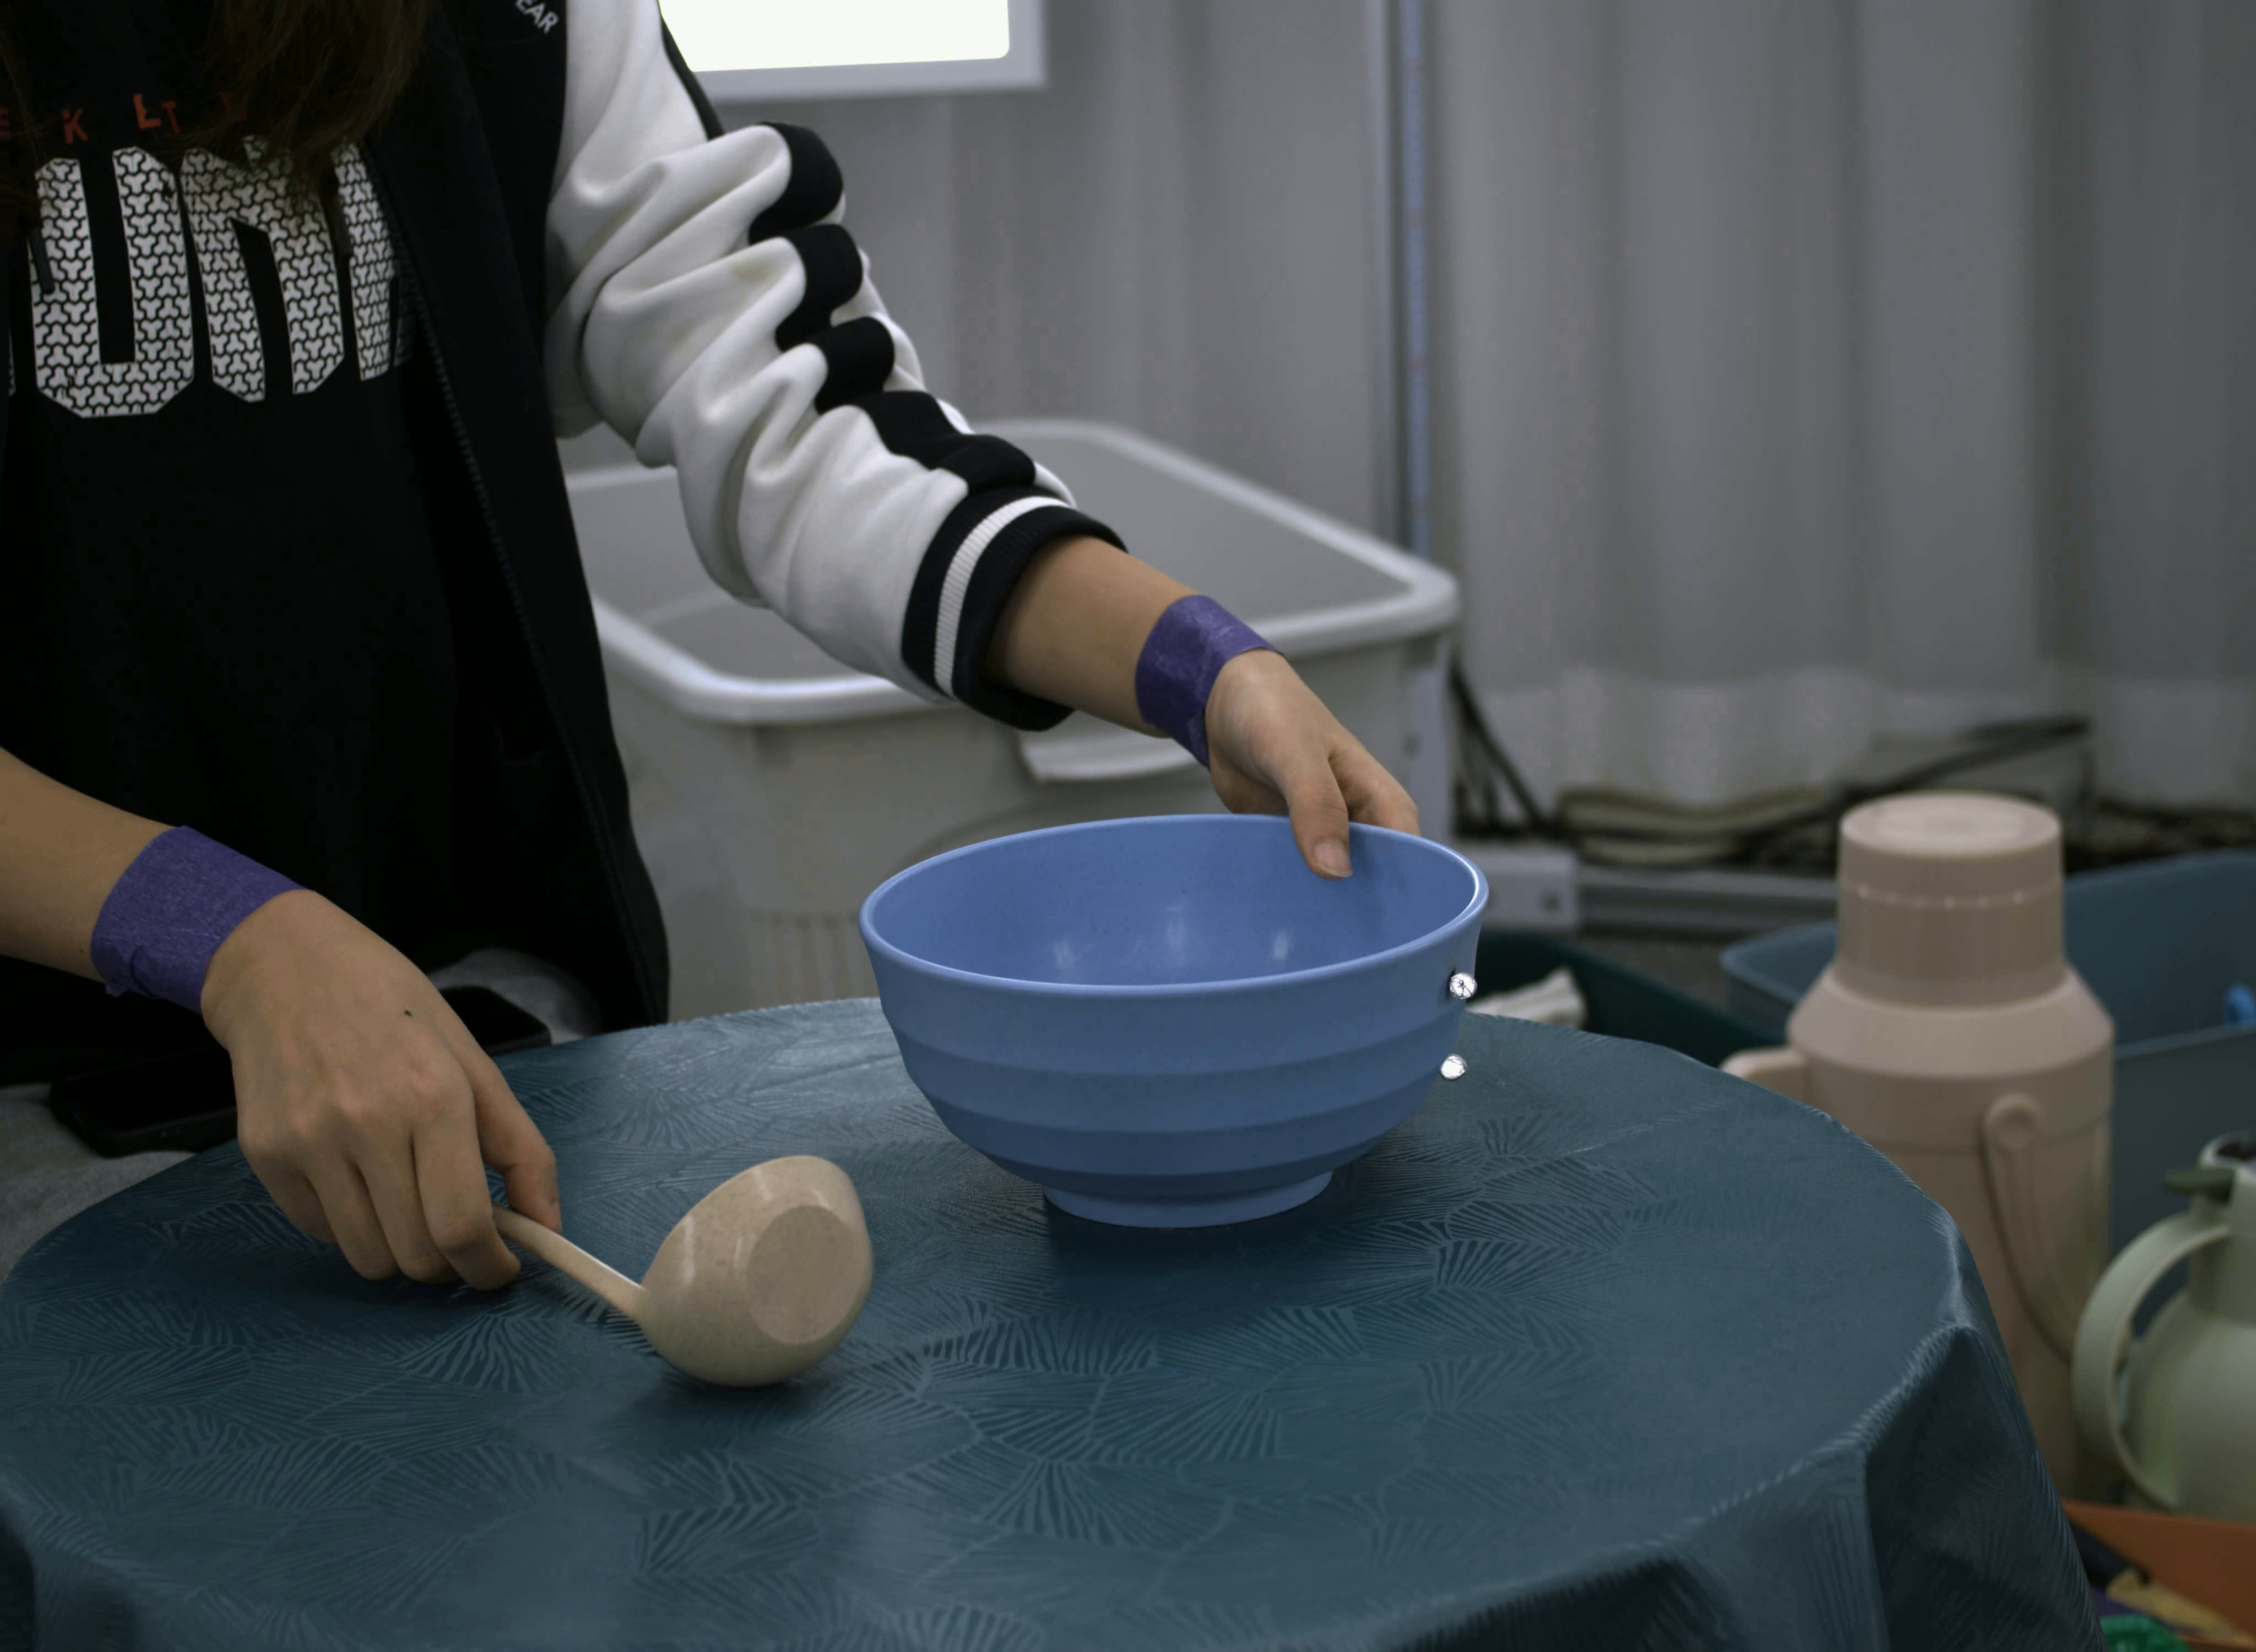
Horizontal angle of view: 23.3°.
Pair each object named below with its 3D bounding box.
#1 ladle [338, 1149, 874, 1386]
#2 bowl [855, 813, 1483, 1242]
[{"bbox_3d":[-0.168,0.106,1.632,0.072,0.072,0.256,-11,17,-37],"label":"ladle"},{"bbox_3d":[0.016,0.070,1.710,0.196,0.095,0.198,-4,16,1],"label":"bowl"}]
